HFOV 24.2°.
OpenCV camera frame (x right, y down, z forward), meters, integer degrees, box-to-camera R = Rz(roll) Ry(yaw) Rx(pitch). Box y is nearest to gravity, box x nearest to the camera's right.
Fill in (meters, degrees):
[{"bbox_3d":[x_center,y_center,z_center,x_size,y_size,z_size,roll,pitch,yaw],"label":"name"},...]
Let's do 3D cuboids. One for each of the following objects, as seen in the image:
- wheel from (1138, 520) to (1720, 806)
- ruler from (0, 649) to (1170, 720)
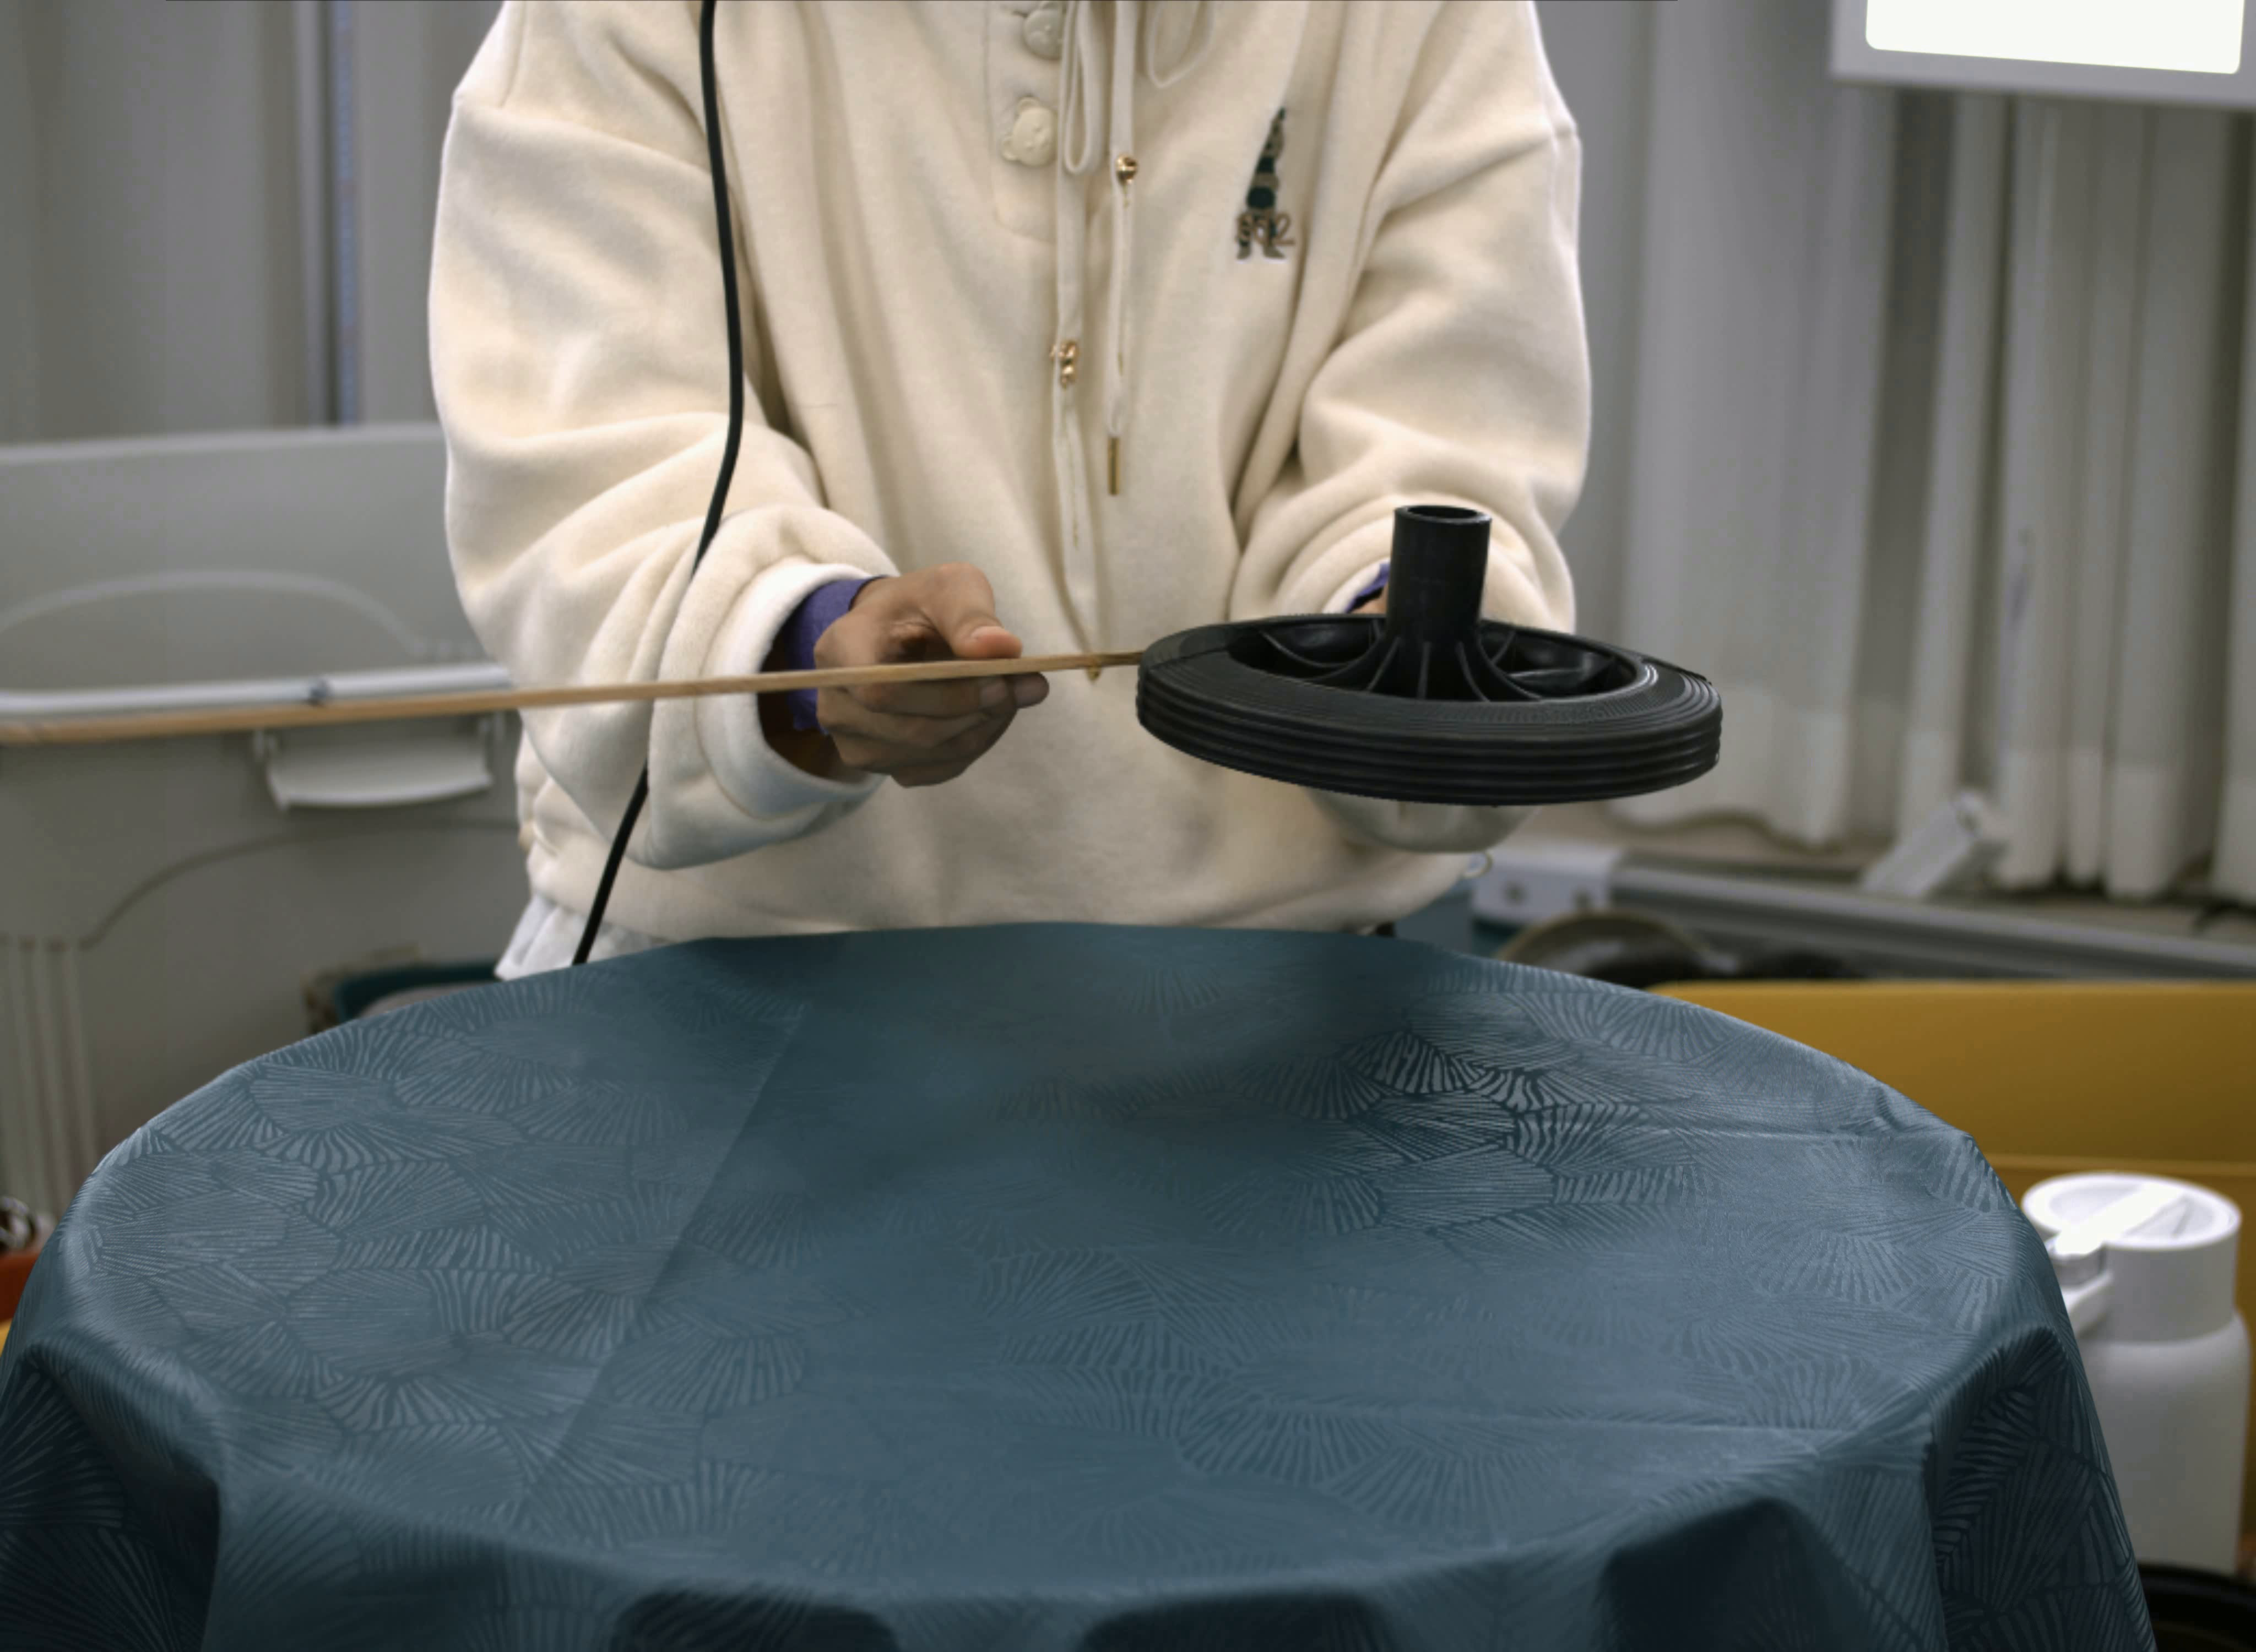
[{"bbox_3d":[0.098,-0.057,1.683,0.185,0.079,0.190,10,14,22],"label":"wheel"},{"bbox_3d":[-0.142,-0.042,1.523,0.026,0.006,0.504,-2,2,36],"label":"ruler"}]
